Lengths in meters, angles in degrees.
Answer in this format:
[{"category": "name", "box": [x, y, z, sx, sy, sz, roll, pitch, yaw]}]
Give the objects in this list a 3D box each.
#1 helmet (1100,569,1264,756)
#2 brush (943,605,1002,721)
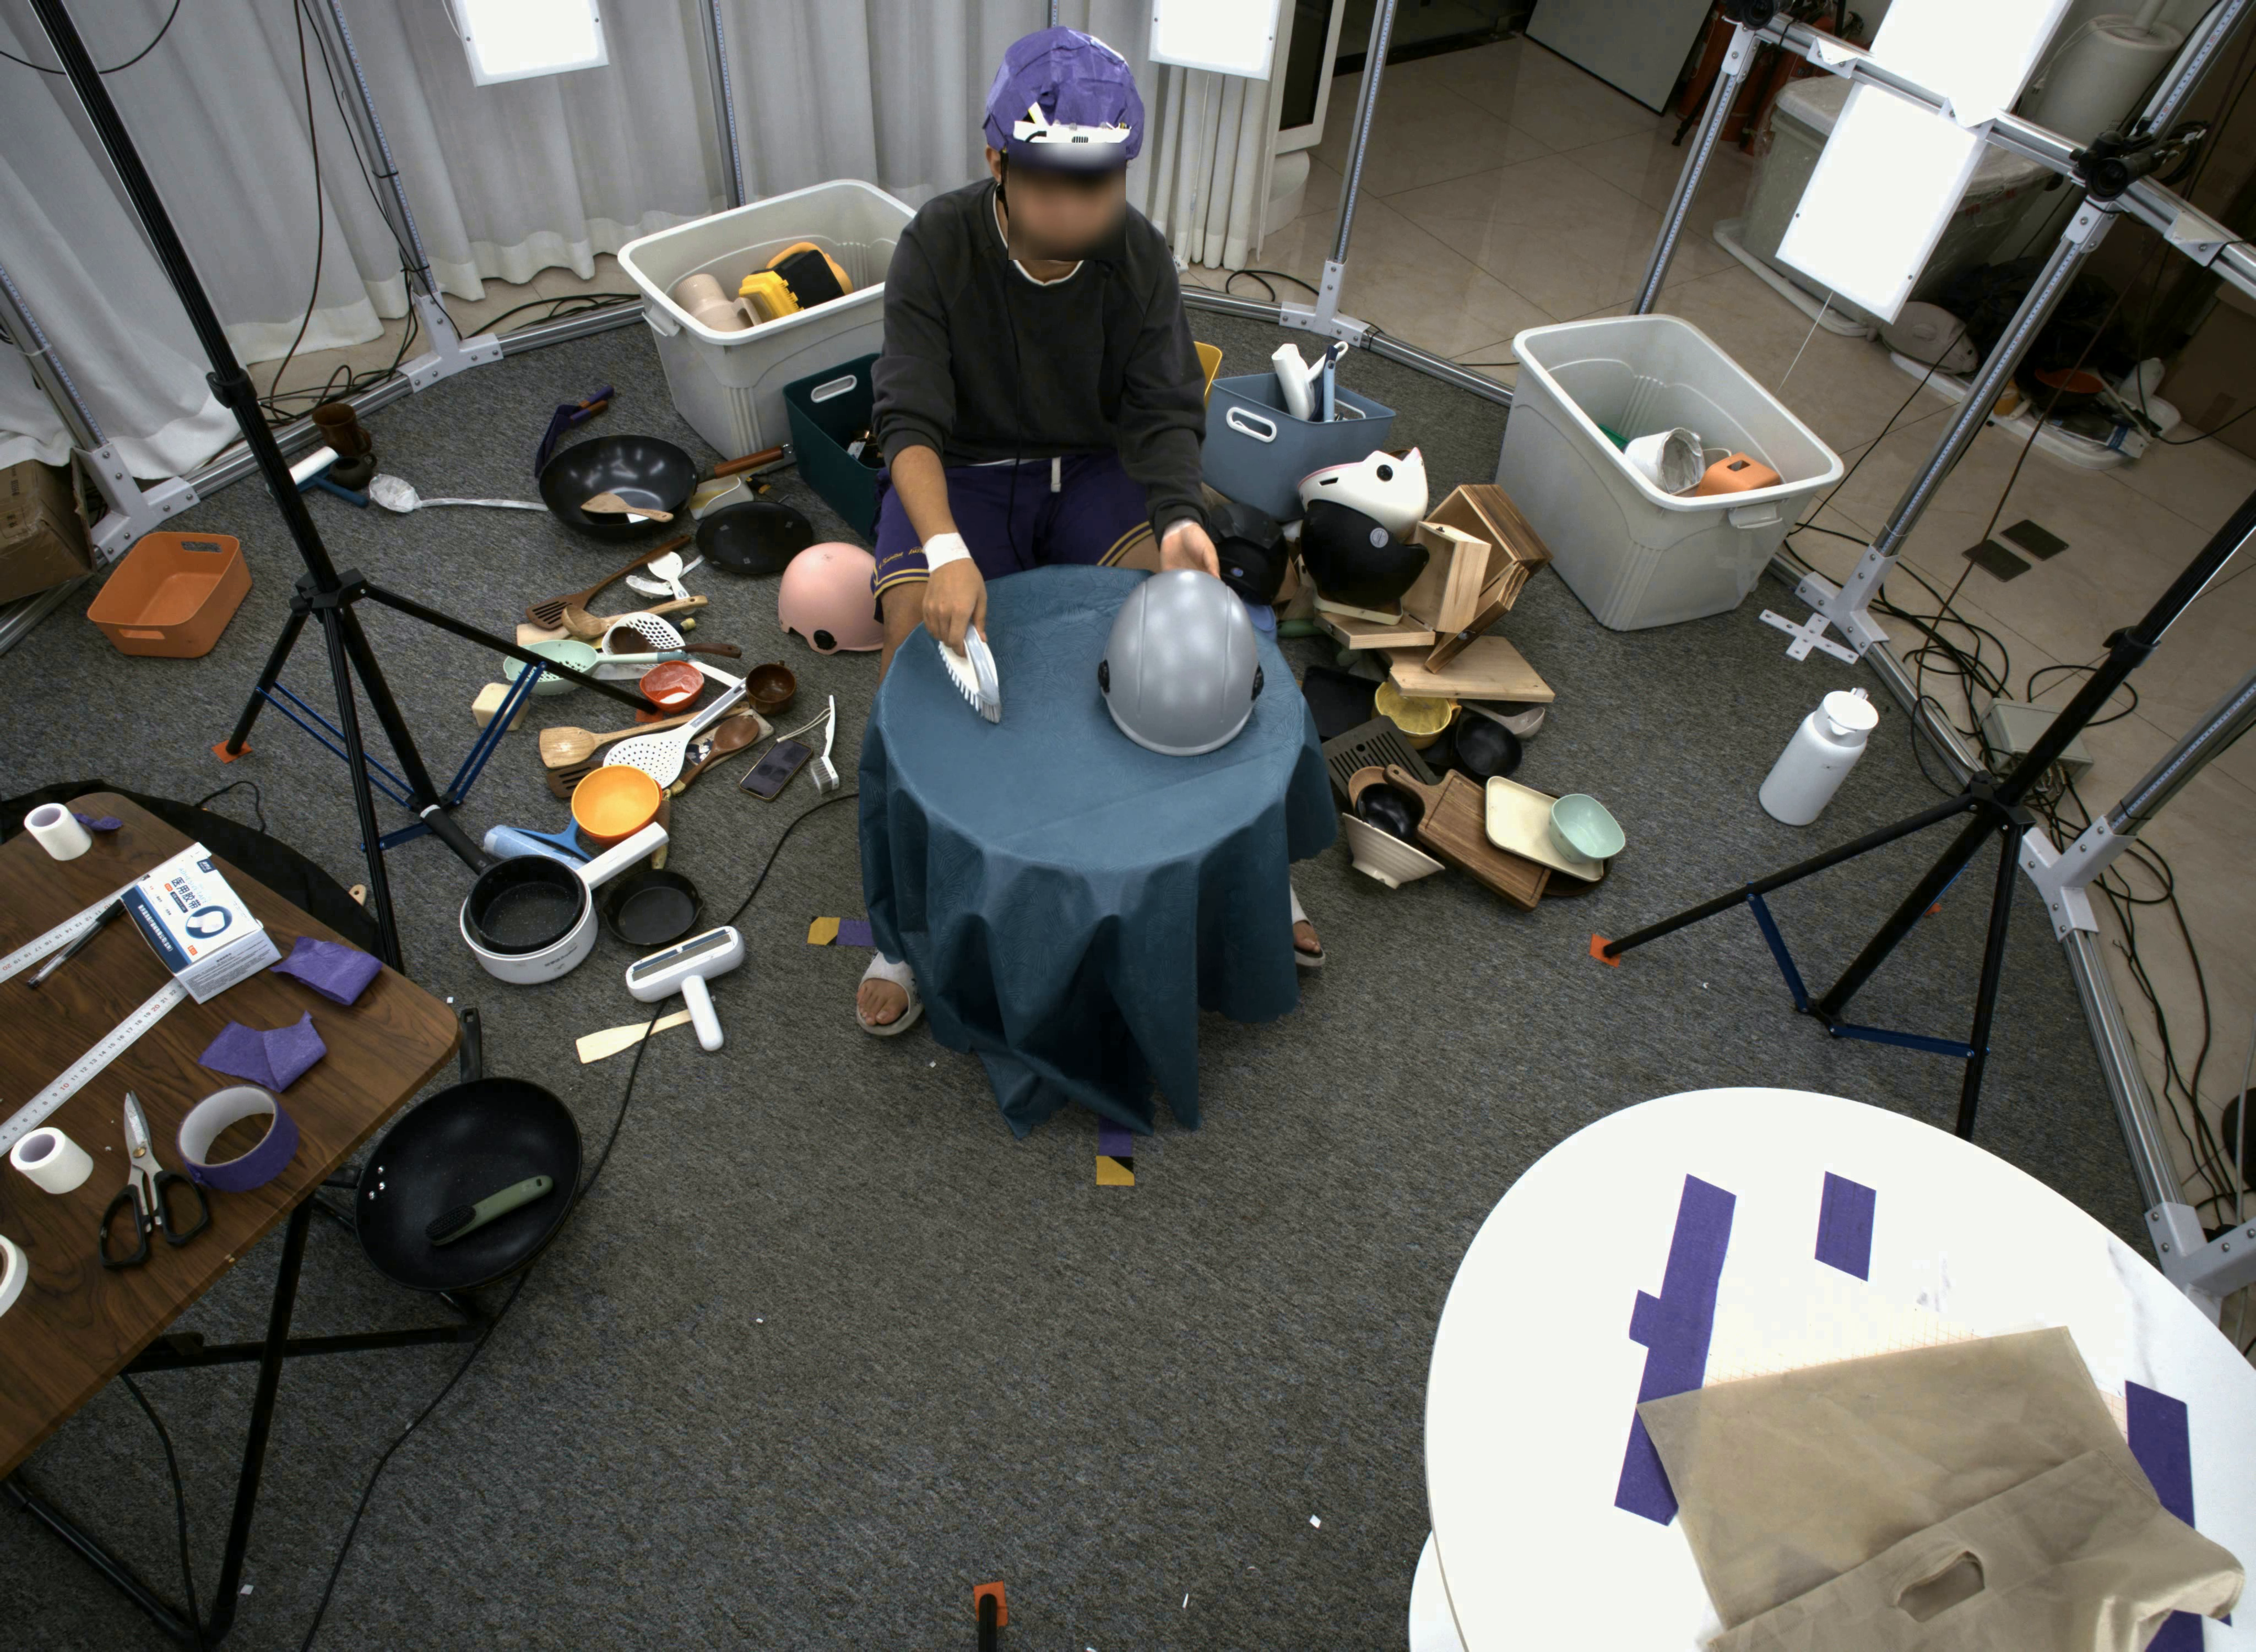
[{"category": "helmet", "box": [0.077, -0.251, 1.784, 0.232, 0.164, 0.283, 3, 51, 1]}, {"category": "brush", "box": [-0.212, -0.235, 1.796, 0.061, 0.092, 0.179, -16, 56, -14]}]
